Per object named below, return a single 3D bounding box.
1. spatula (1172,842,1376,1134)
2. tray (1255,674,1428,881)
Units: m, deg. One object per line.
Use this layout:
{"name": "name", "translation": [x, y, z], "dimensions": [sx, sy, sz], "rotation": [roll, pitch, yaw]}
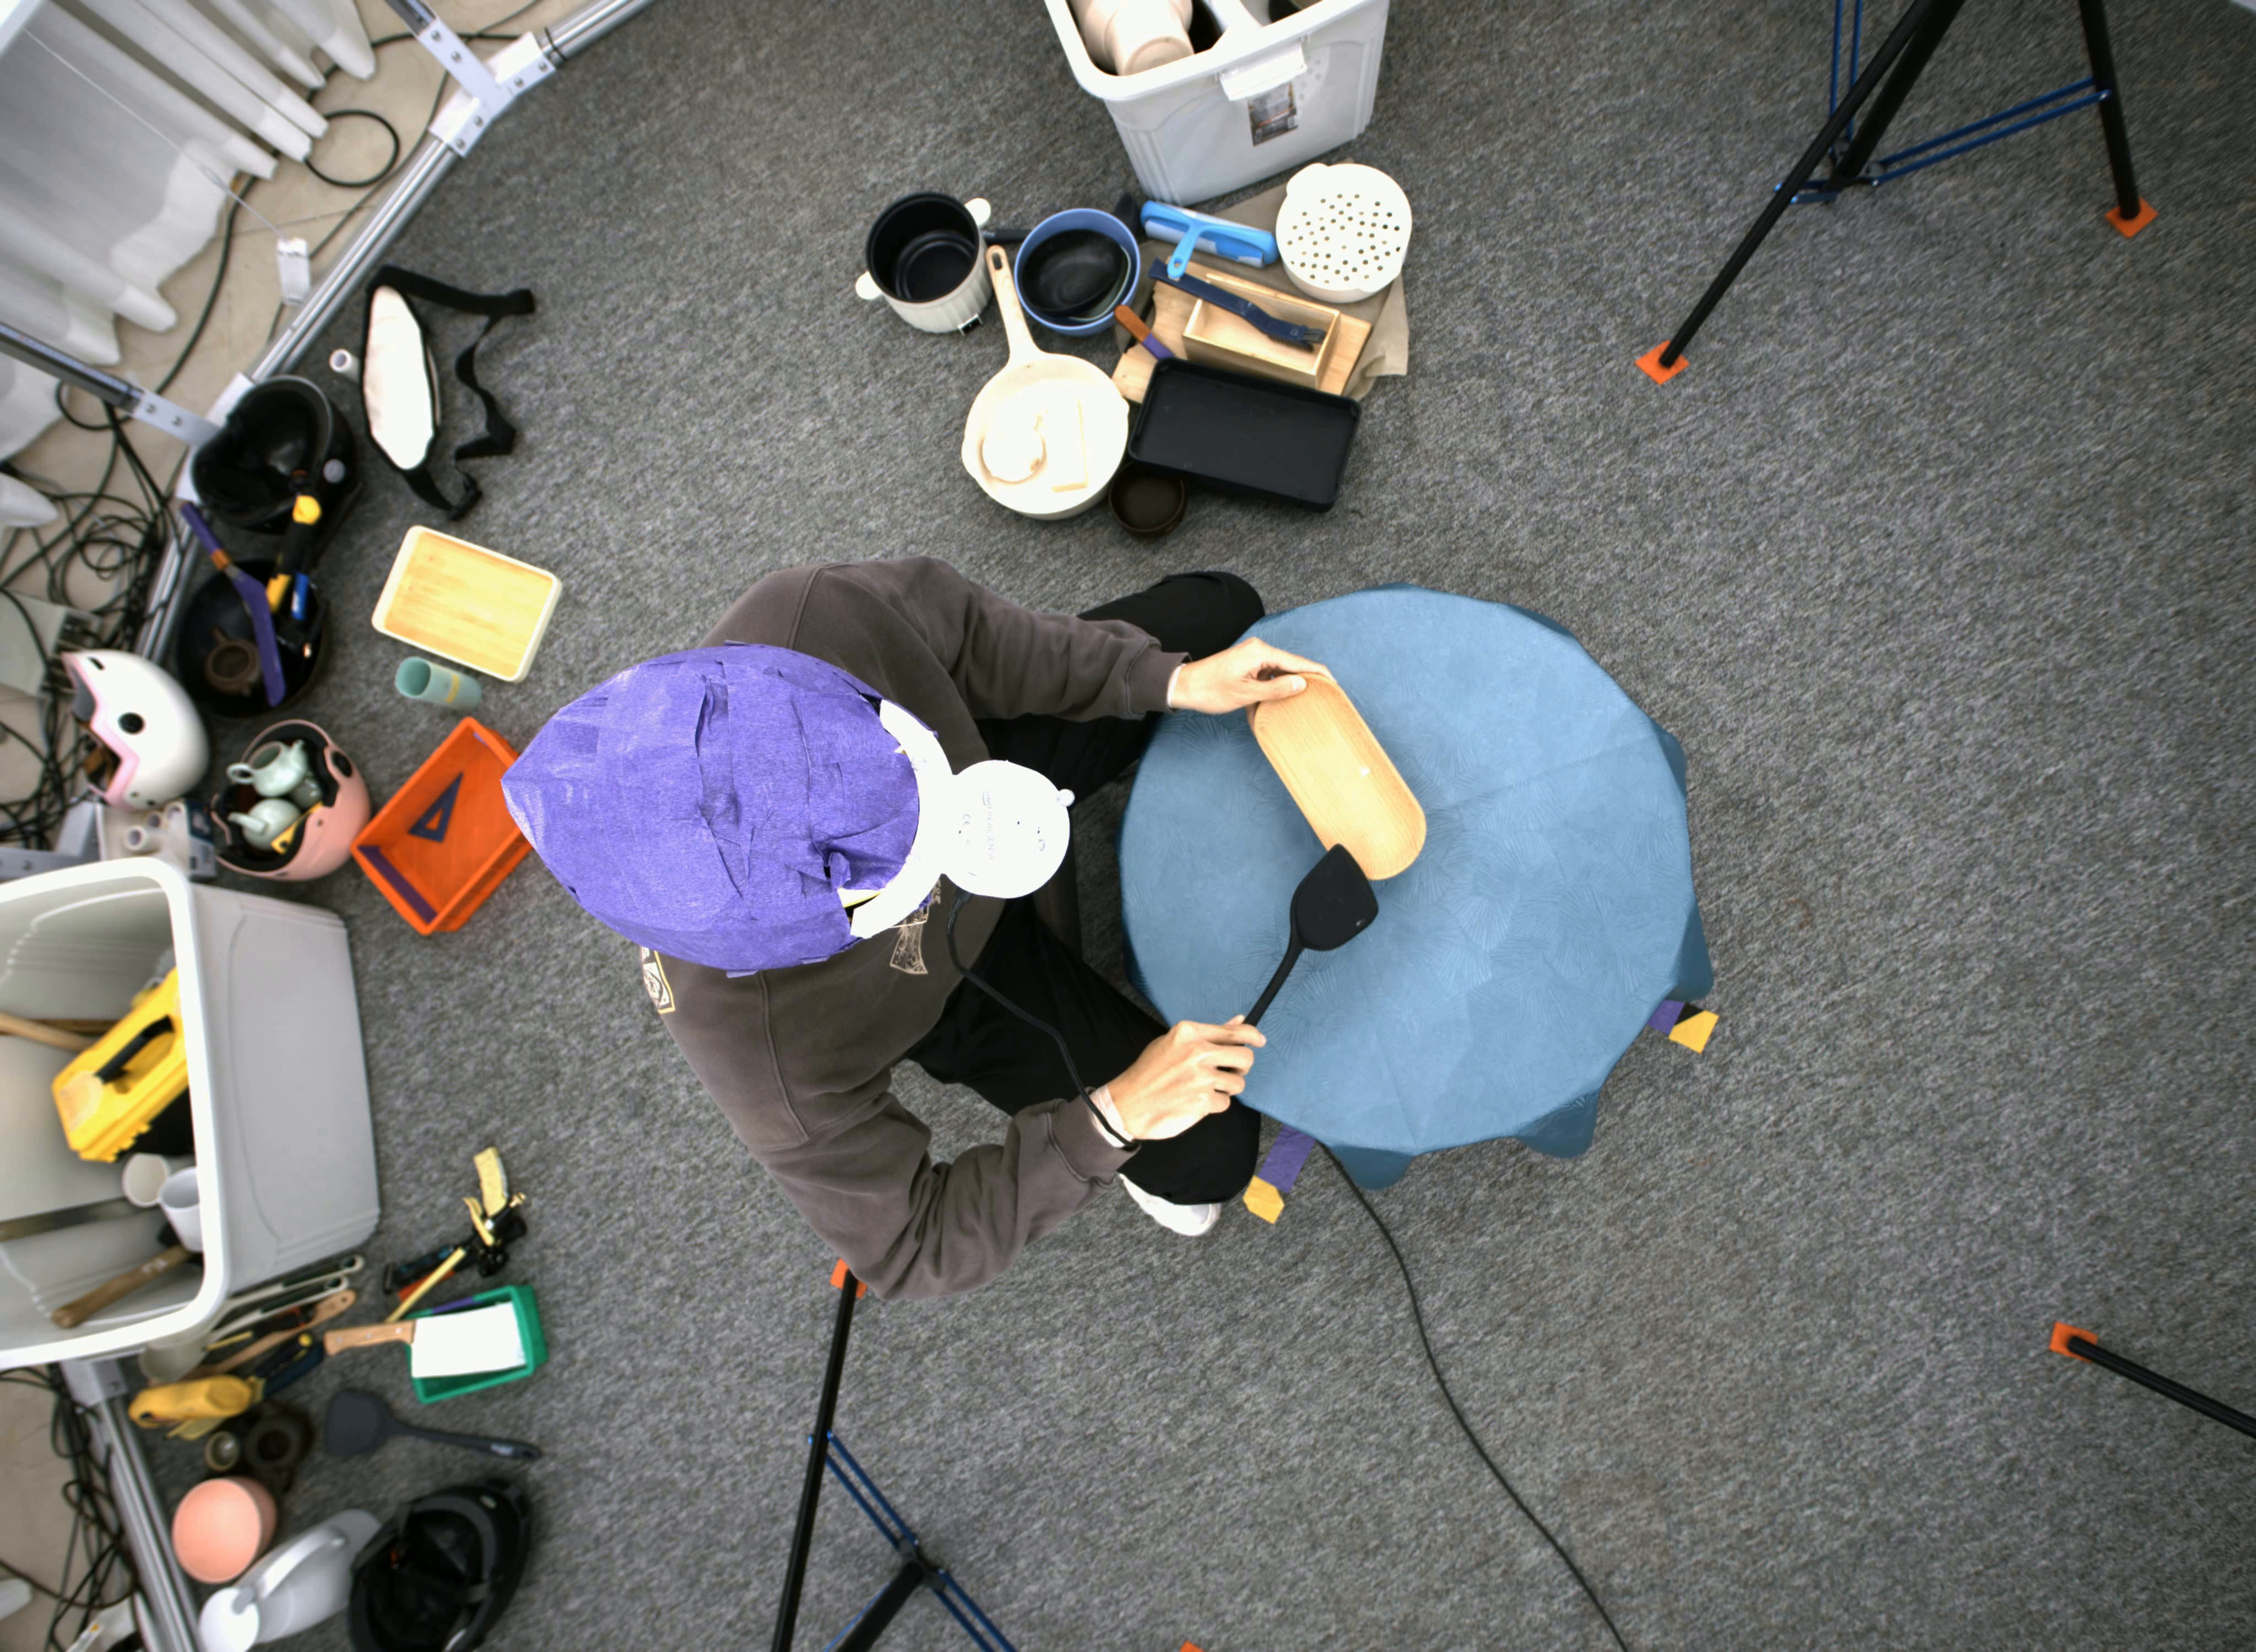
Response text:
{"name": "spatula", "translation": [0.132, 0.155, 1.282], "dimensions": [0.101, 0.041, 0.319], "rotation": [54, 56, -27]}
{"name": "tray", "translation": [0.212, -0.051, 1.378], "dimensions": [0.103, 0.020, 0.229], "rotation": [-35, 78, 14]}
